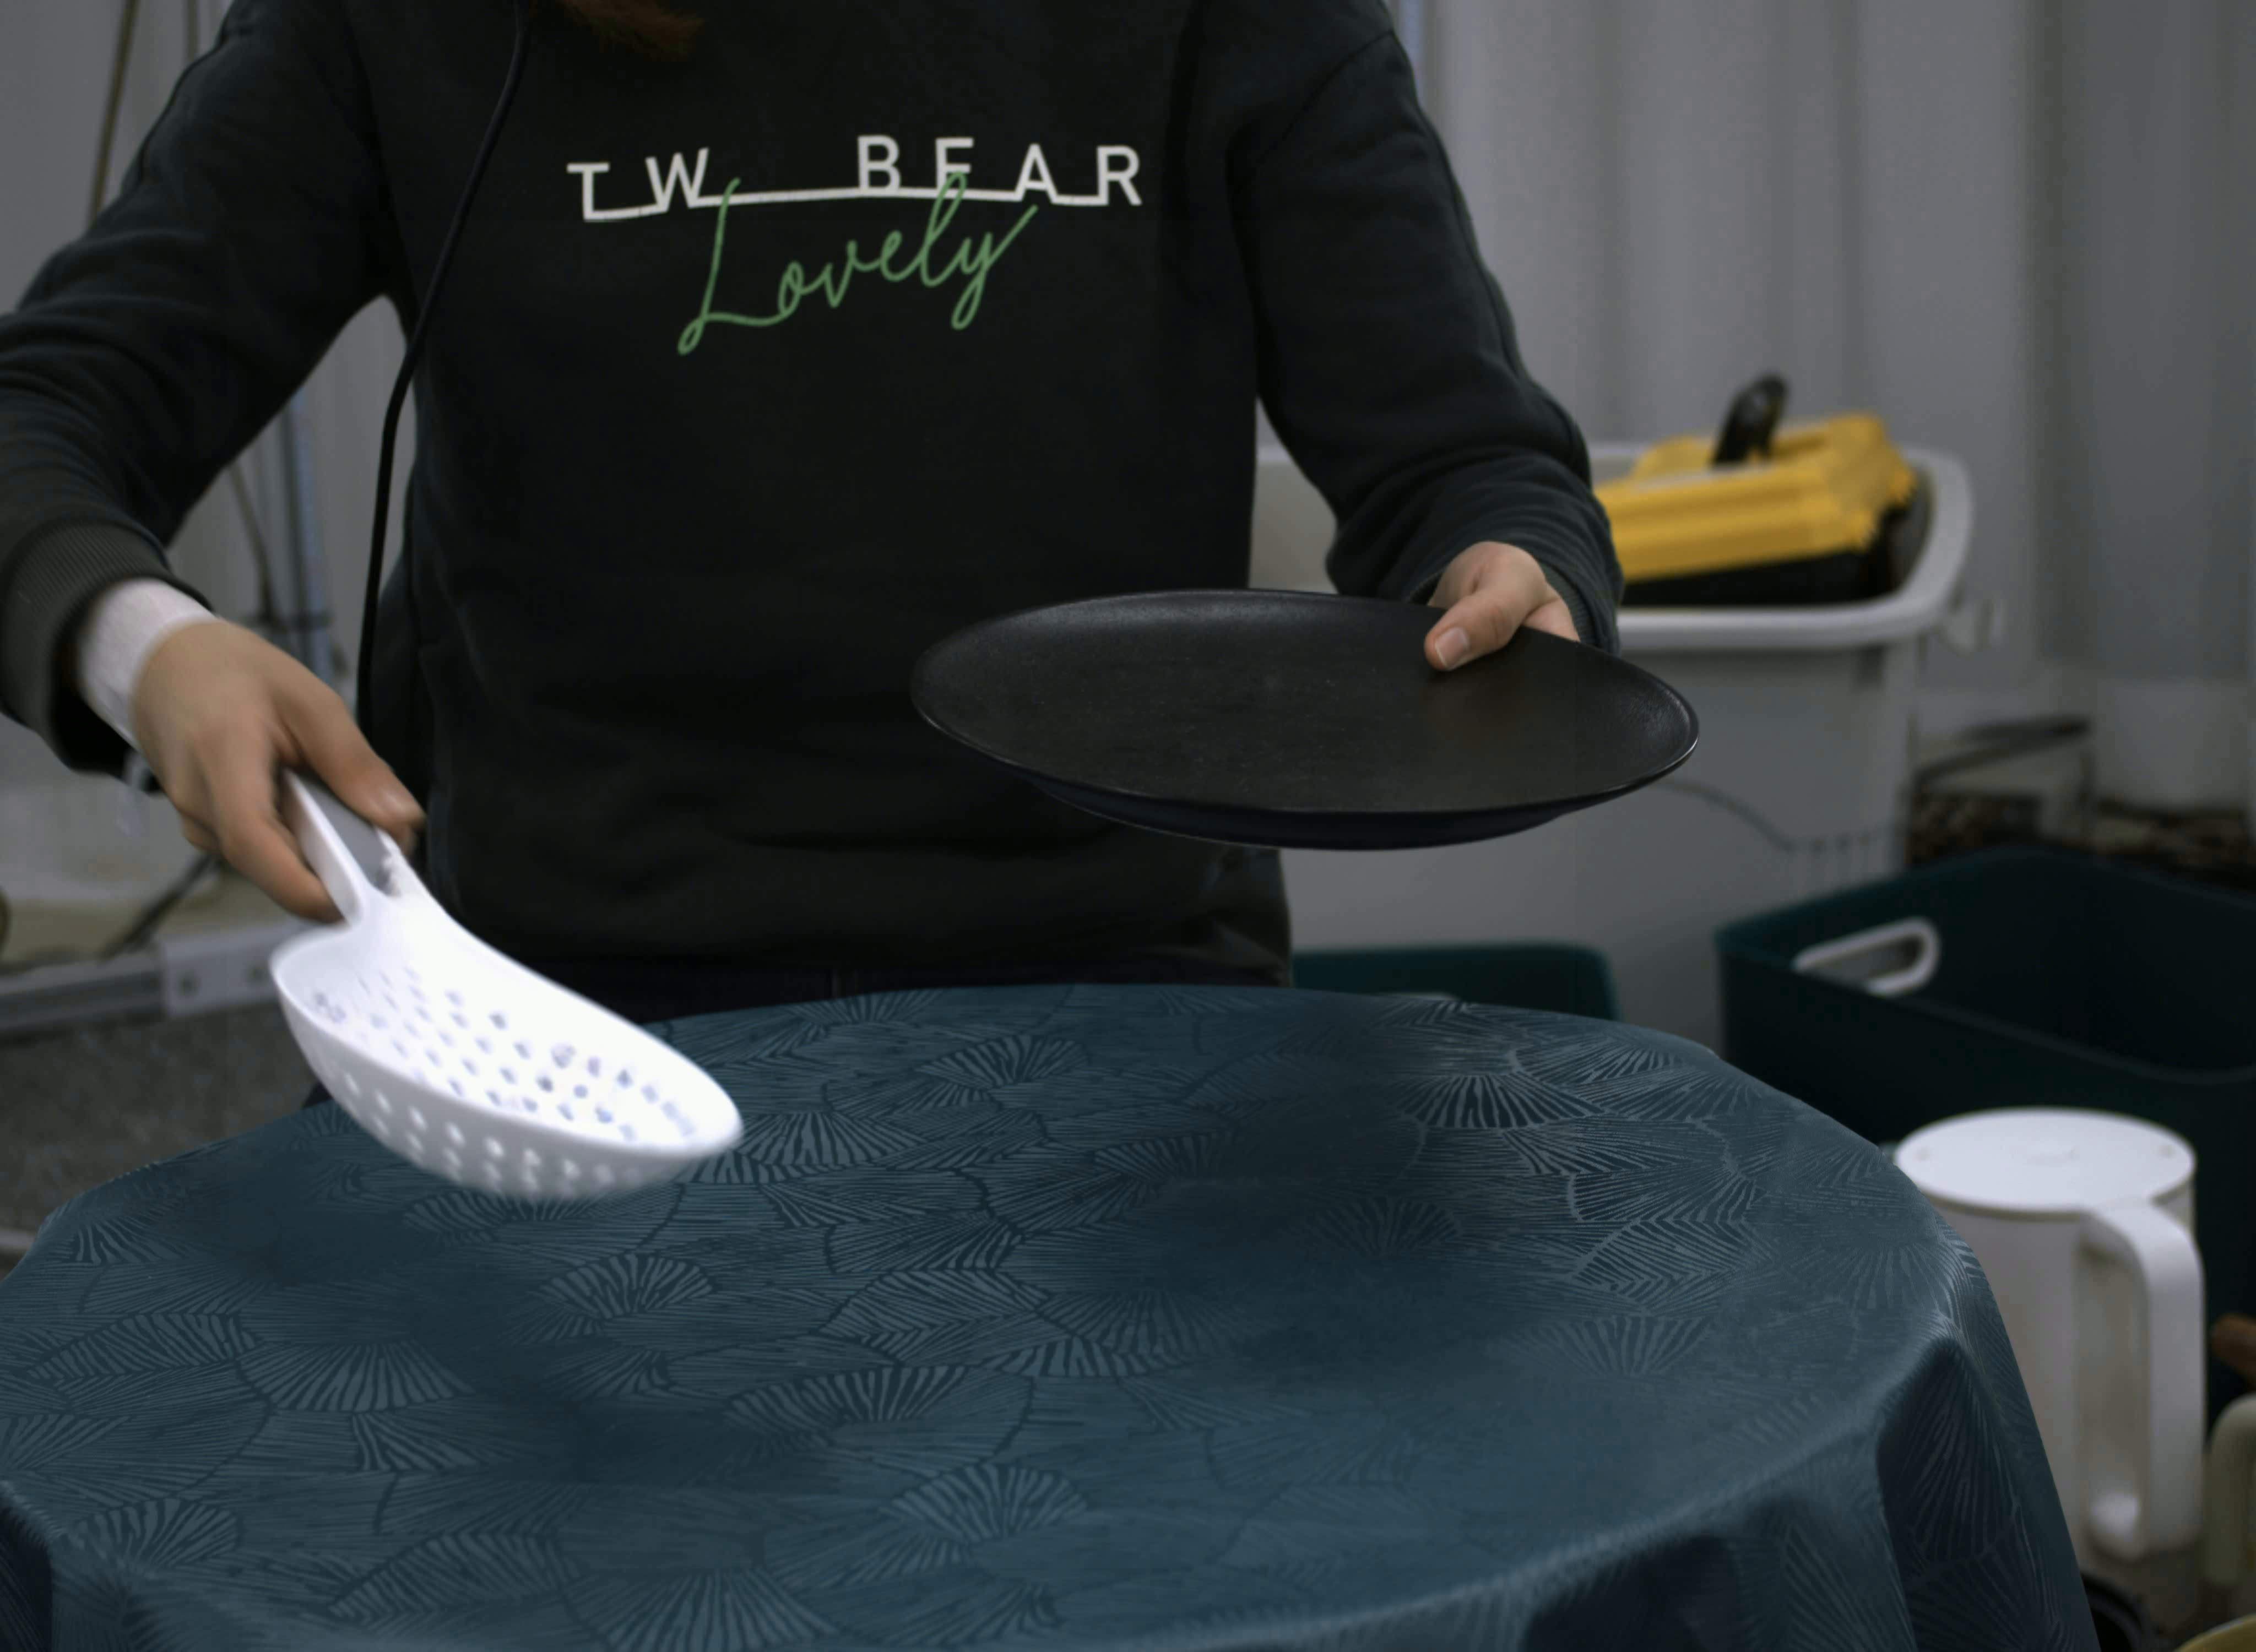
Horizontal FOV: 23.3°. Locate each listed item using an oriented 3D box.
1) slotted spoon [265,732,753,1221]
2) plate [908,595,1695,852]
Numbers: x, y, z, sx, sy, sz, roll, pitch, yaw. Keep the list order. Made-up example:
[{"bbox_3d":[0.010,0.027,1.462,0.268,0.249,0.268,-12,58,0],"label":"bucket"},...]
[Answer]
[{"bbox_3d":[-0.207,0.036,1.605,0.135,0.045,0.354,18,17,-26],"label":"slotted spoon"},{"bbox_3d":[0.053,-0.030,1.686,0.243,0.023,0.246,3,17,-1],"label":"plate"}]
